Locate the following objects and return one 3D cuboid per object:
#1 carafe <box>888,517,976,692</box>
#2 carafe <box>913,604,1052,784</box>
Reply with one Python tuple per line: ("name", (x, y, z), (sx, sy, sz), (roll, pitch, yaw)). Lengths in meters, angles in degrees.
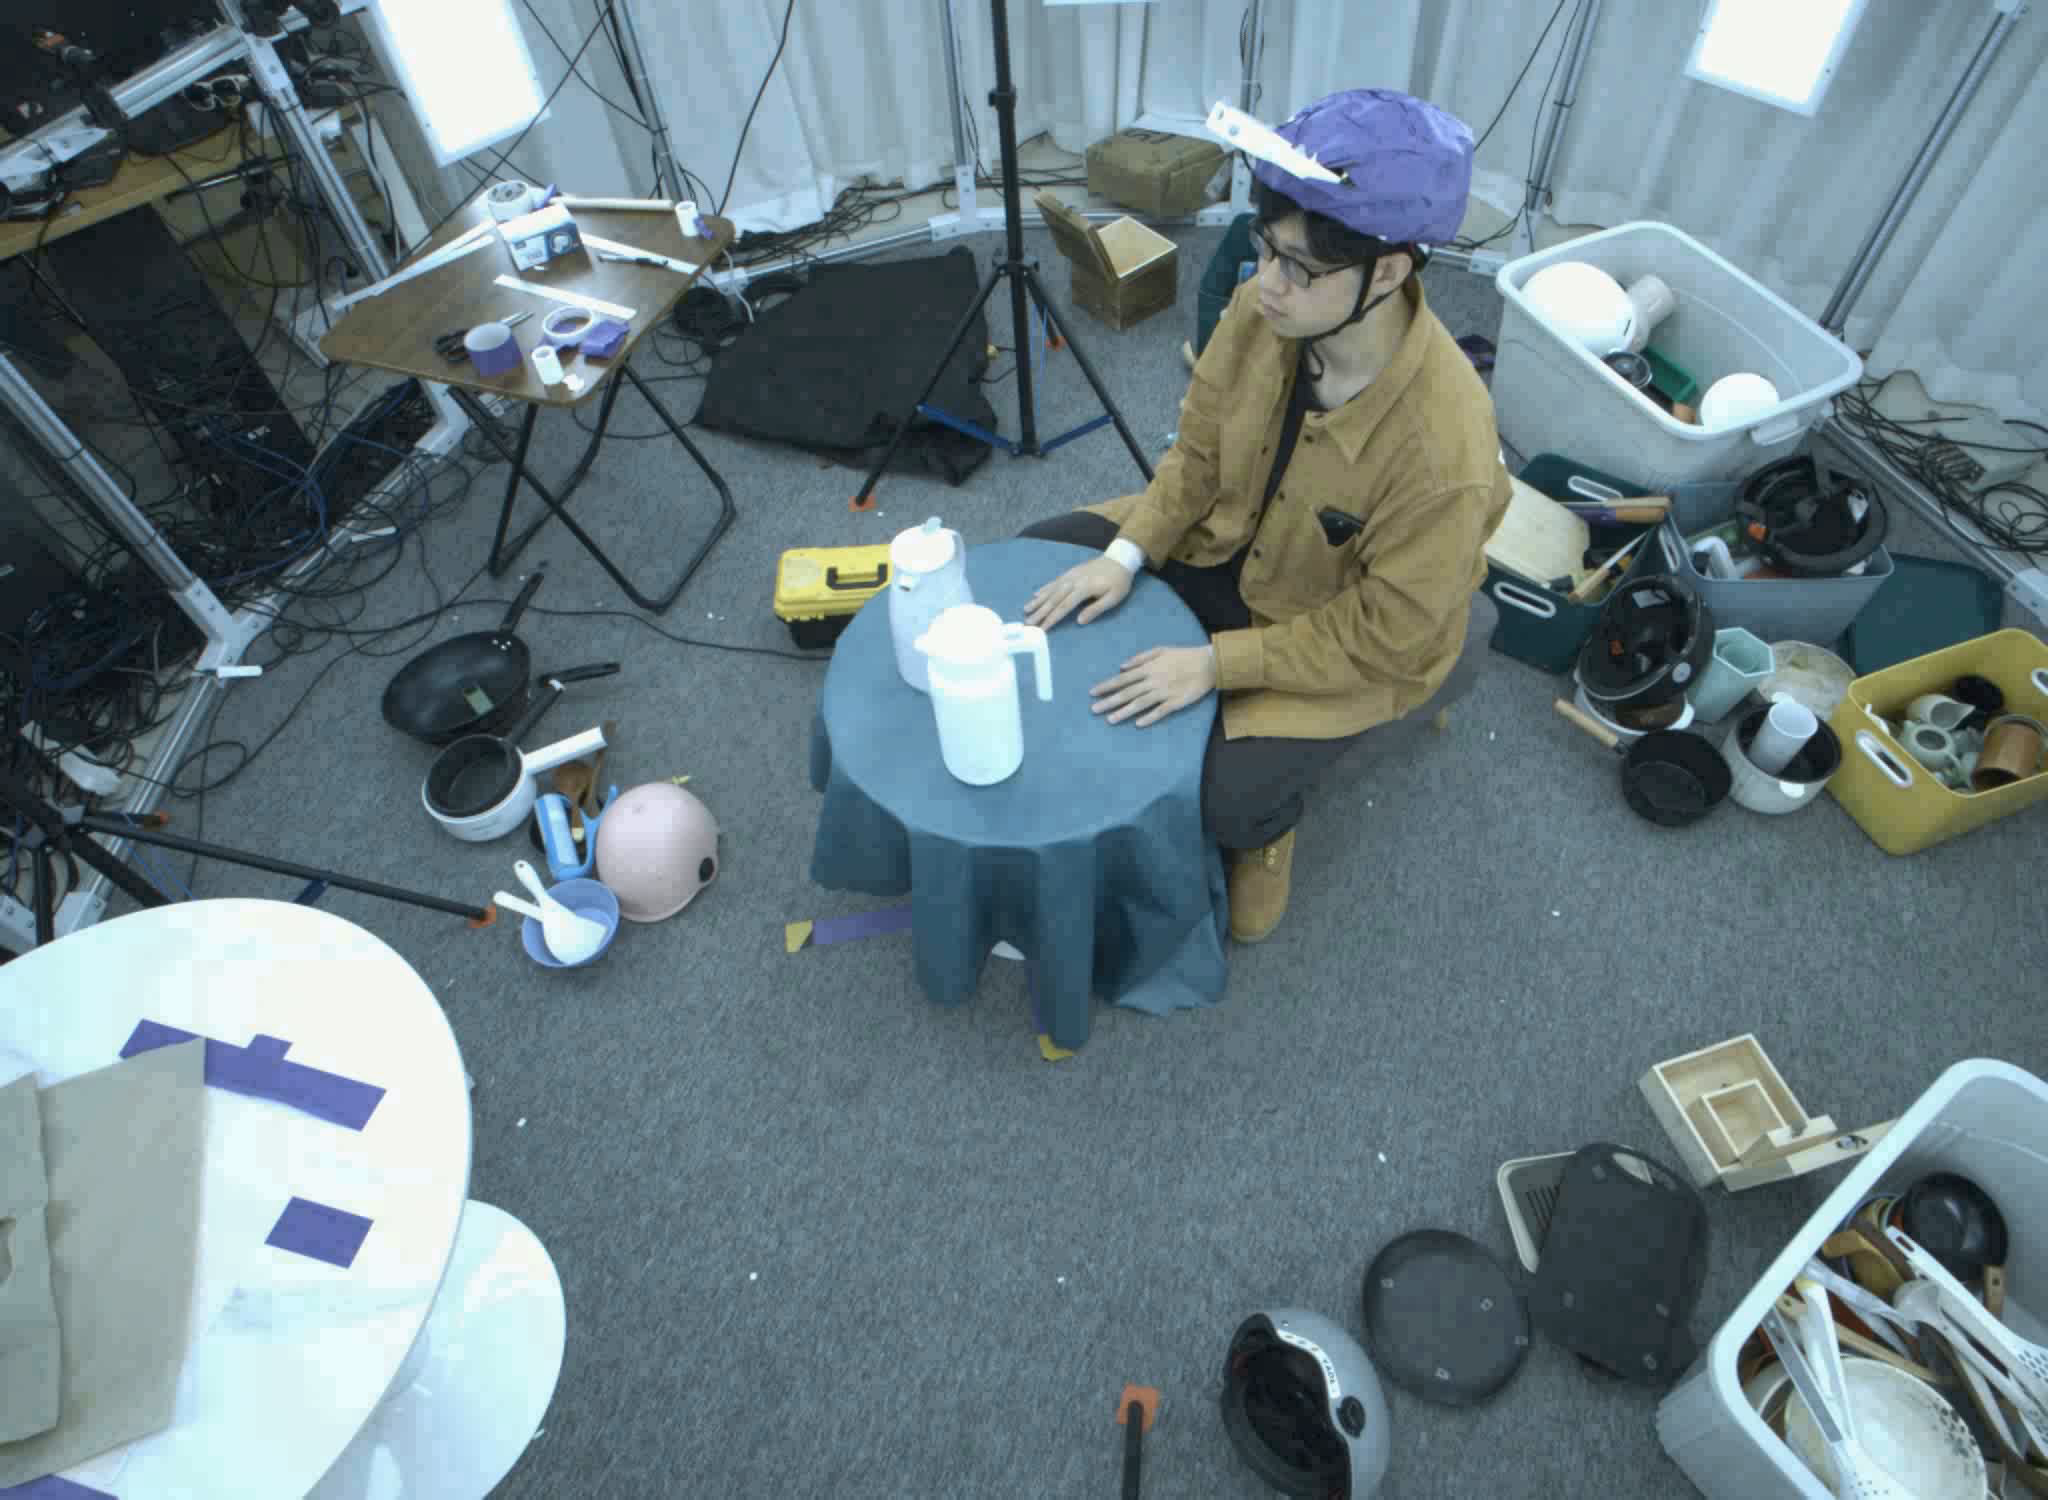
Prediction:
("carafe", (-0.131, -0.226, 1.795), (0.131, 0.251, 0.167), (15, 56, 14))
("carafe", (-0.050, -0.076, 1.673), (0.173, 0.272, 0.122), (-8, 52, -2))
